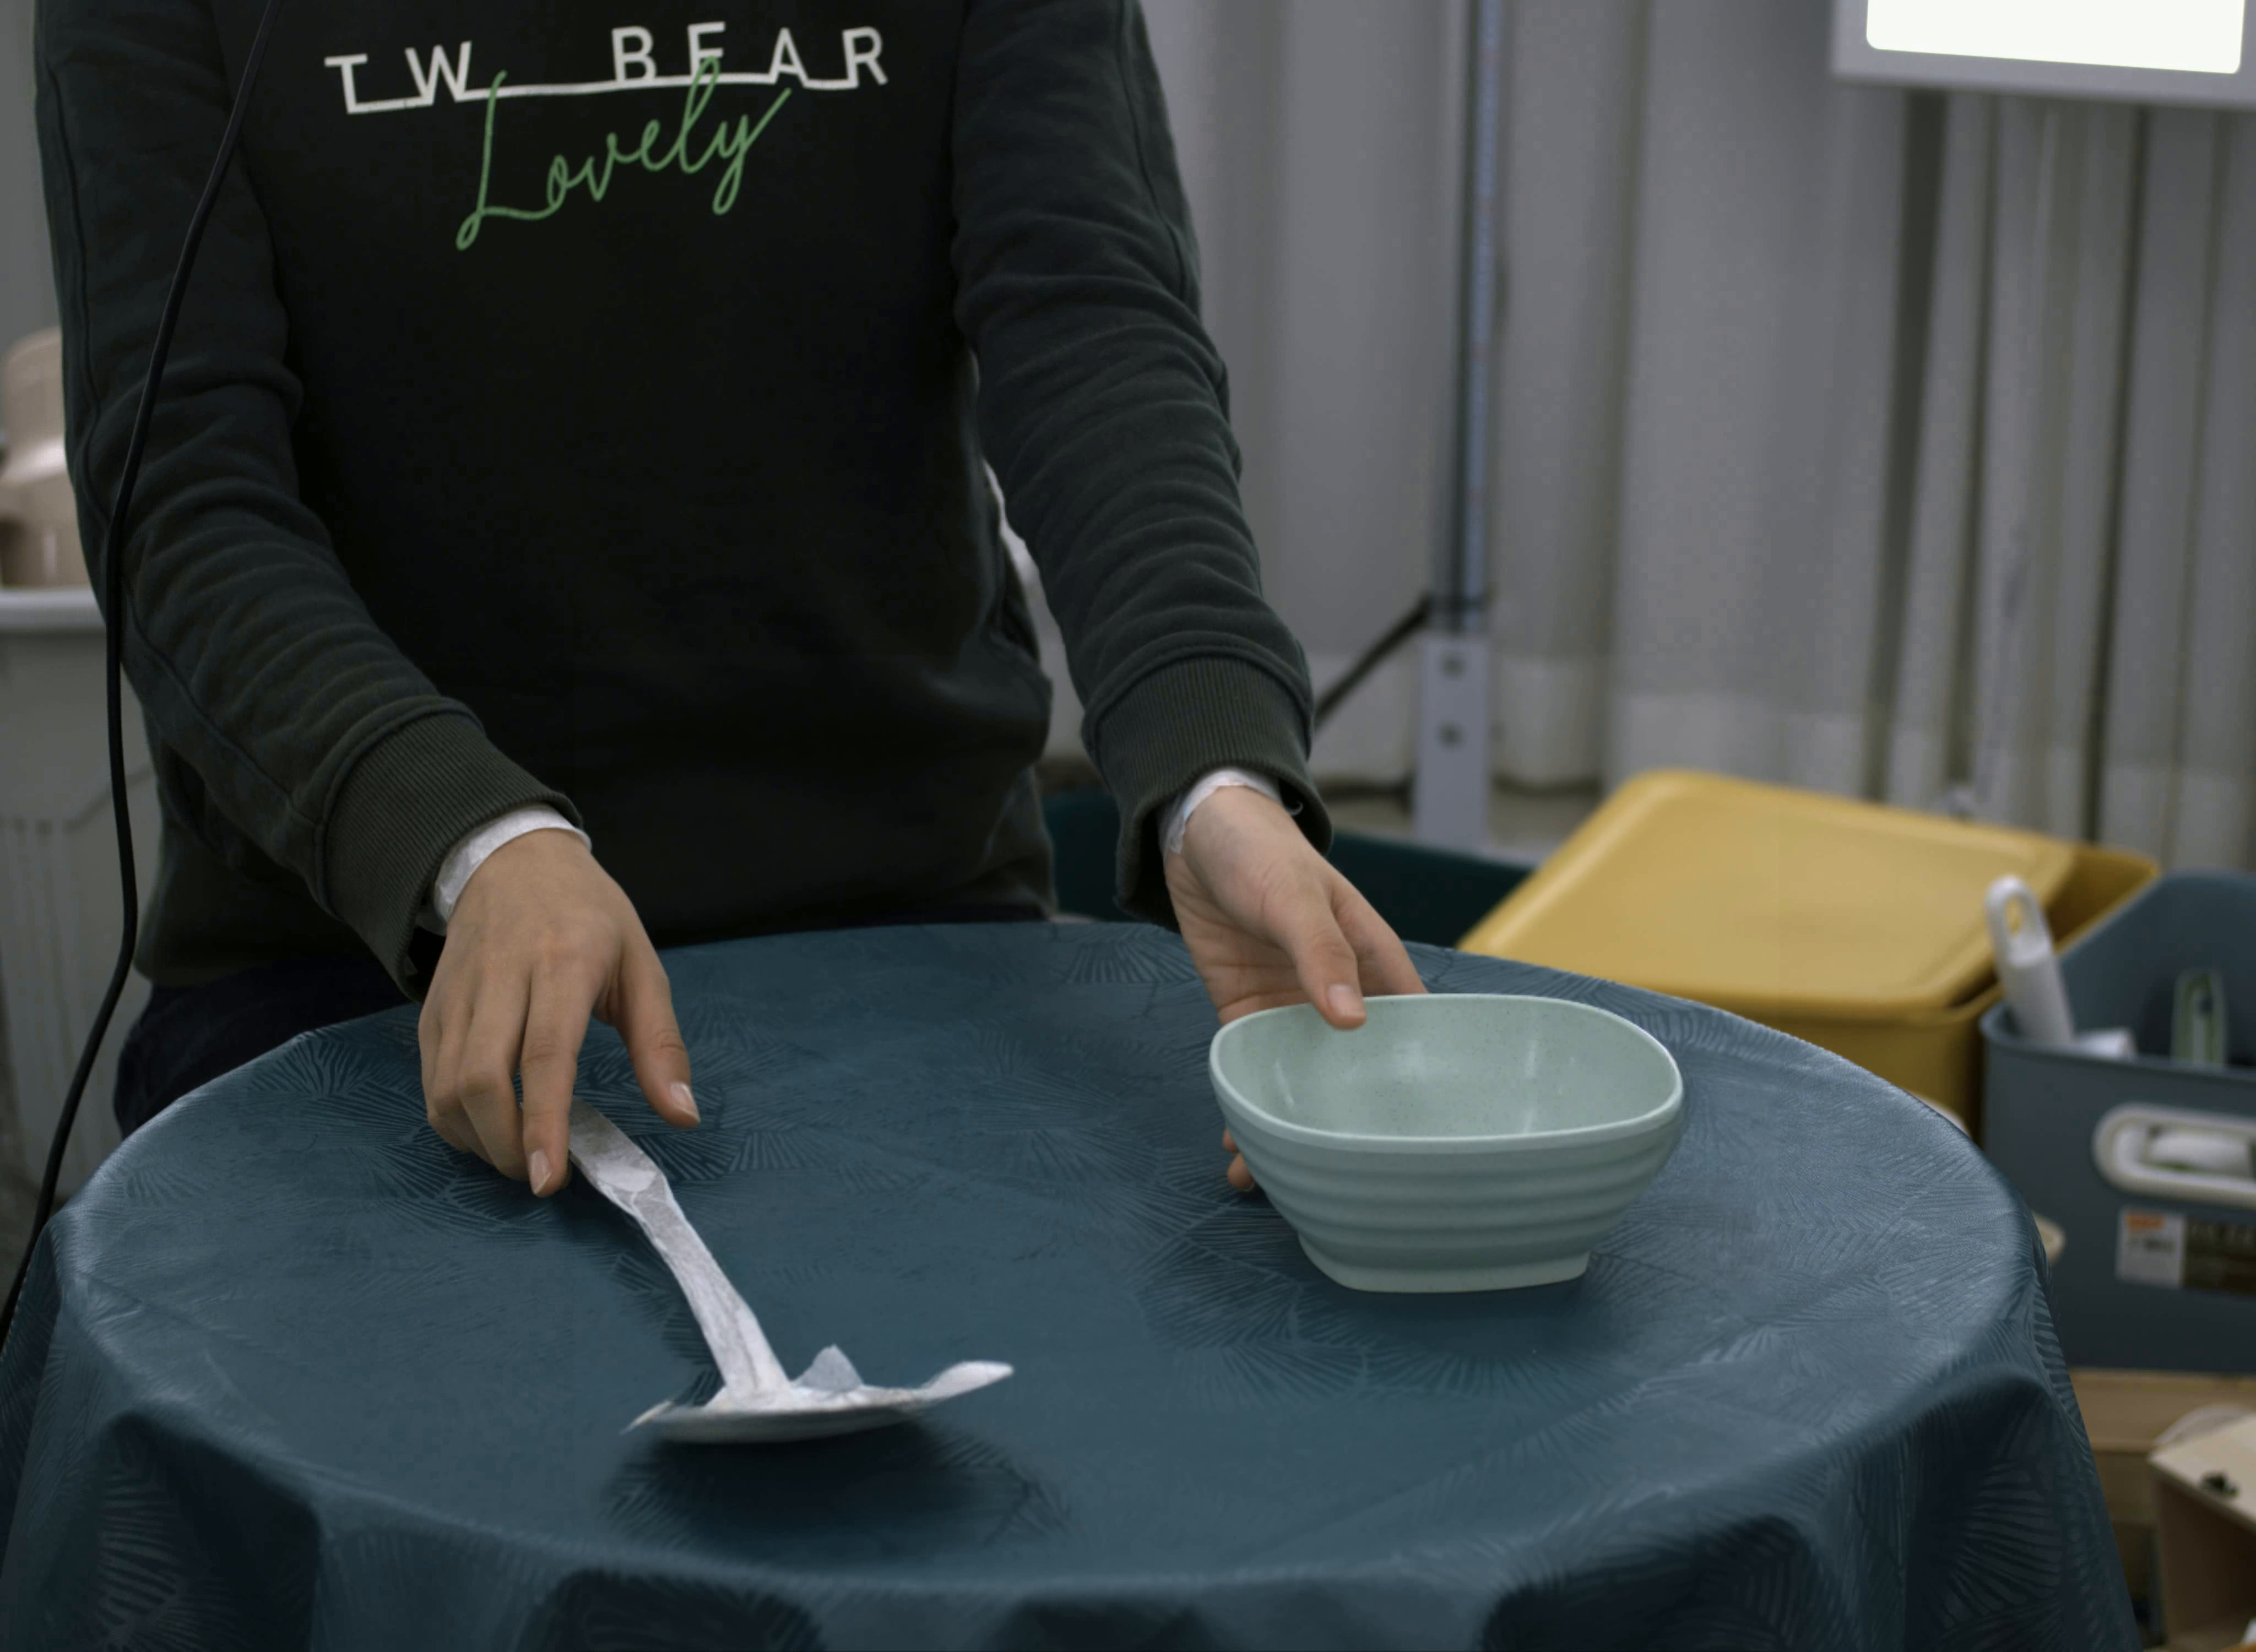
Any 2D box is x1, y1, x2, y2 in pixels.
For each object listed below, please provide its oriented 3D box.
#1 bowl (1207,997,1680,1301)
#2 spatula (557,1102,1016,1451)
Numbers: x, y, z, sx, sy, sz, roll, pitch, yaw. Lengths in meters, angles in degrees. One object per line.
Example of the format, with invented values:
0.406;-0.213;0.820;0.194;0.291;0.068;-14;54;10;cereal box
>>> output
0.092;0.100;1.576;0.151;0.059;0.150;3;16;0;bowl
-0.124;0.121;1.522;0.099;0.045;0.361;-6;17;-17;spatula
